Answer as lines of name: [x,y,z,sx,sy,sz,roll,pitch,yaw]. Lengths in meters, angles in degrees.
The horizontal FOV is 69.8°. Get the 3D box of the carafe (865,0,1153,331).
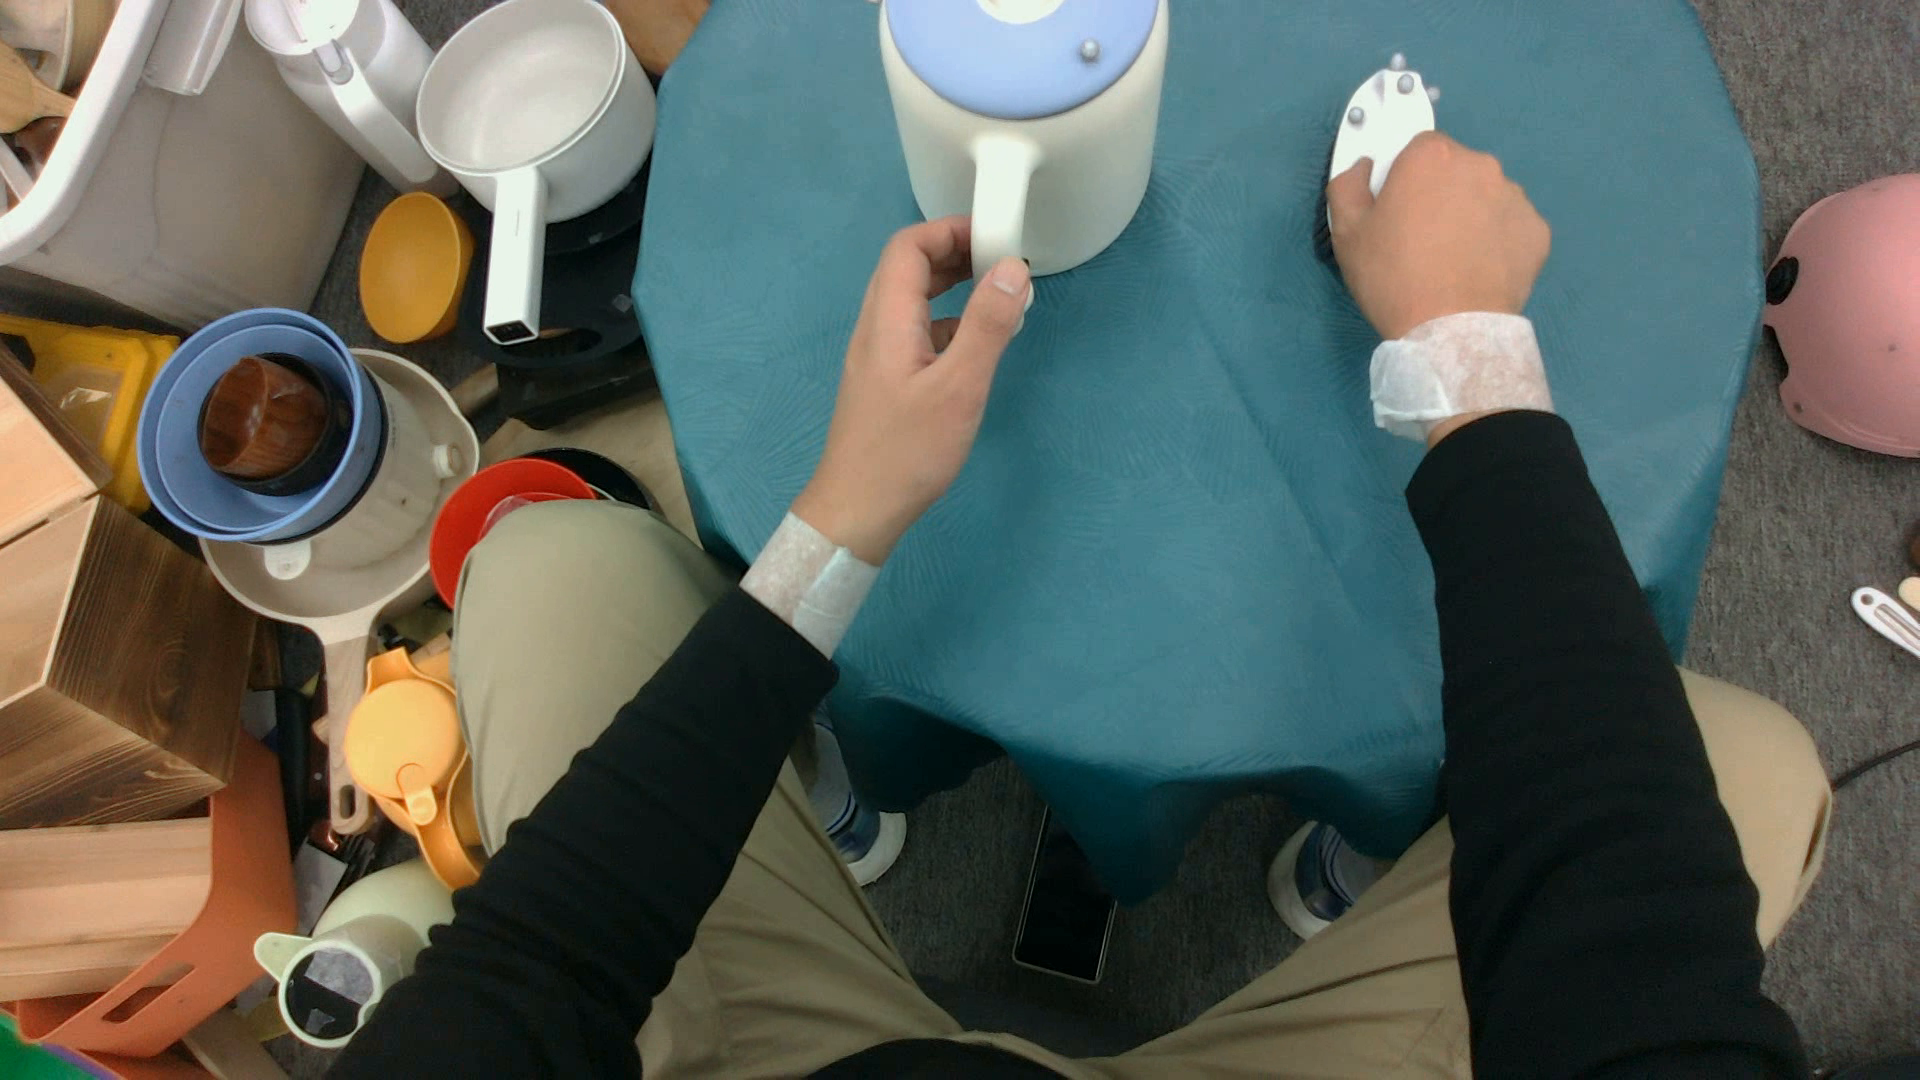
carafe: [0.022,-0.201,0.672,0.132,0.182,0.191,5,80,5]

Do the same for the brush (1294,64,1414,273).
brush: [0.208,-0.197,0.710,0.050,0.072,0.099,13,79,5]
